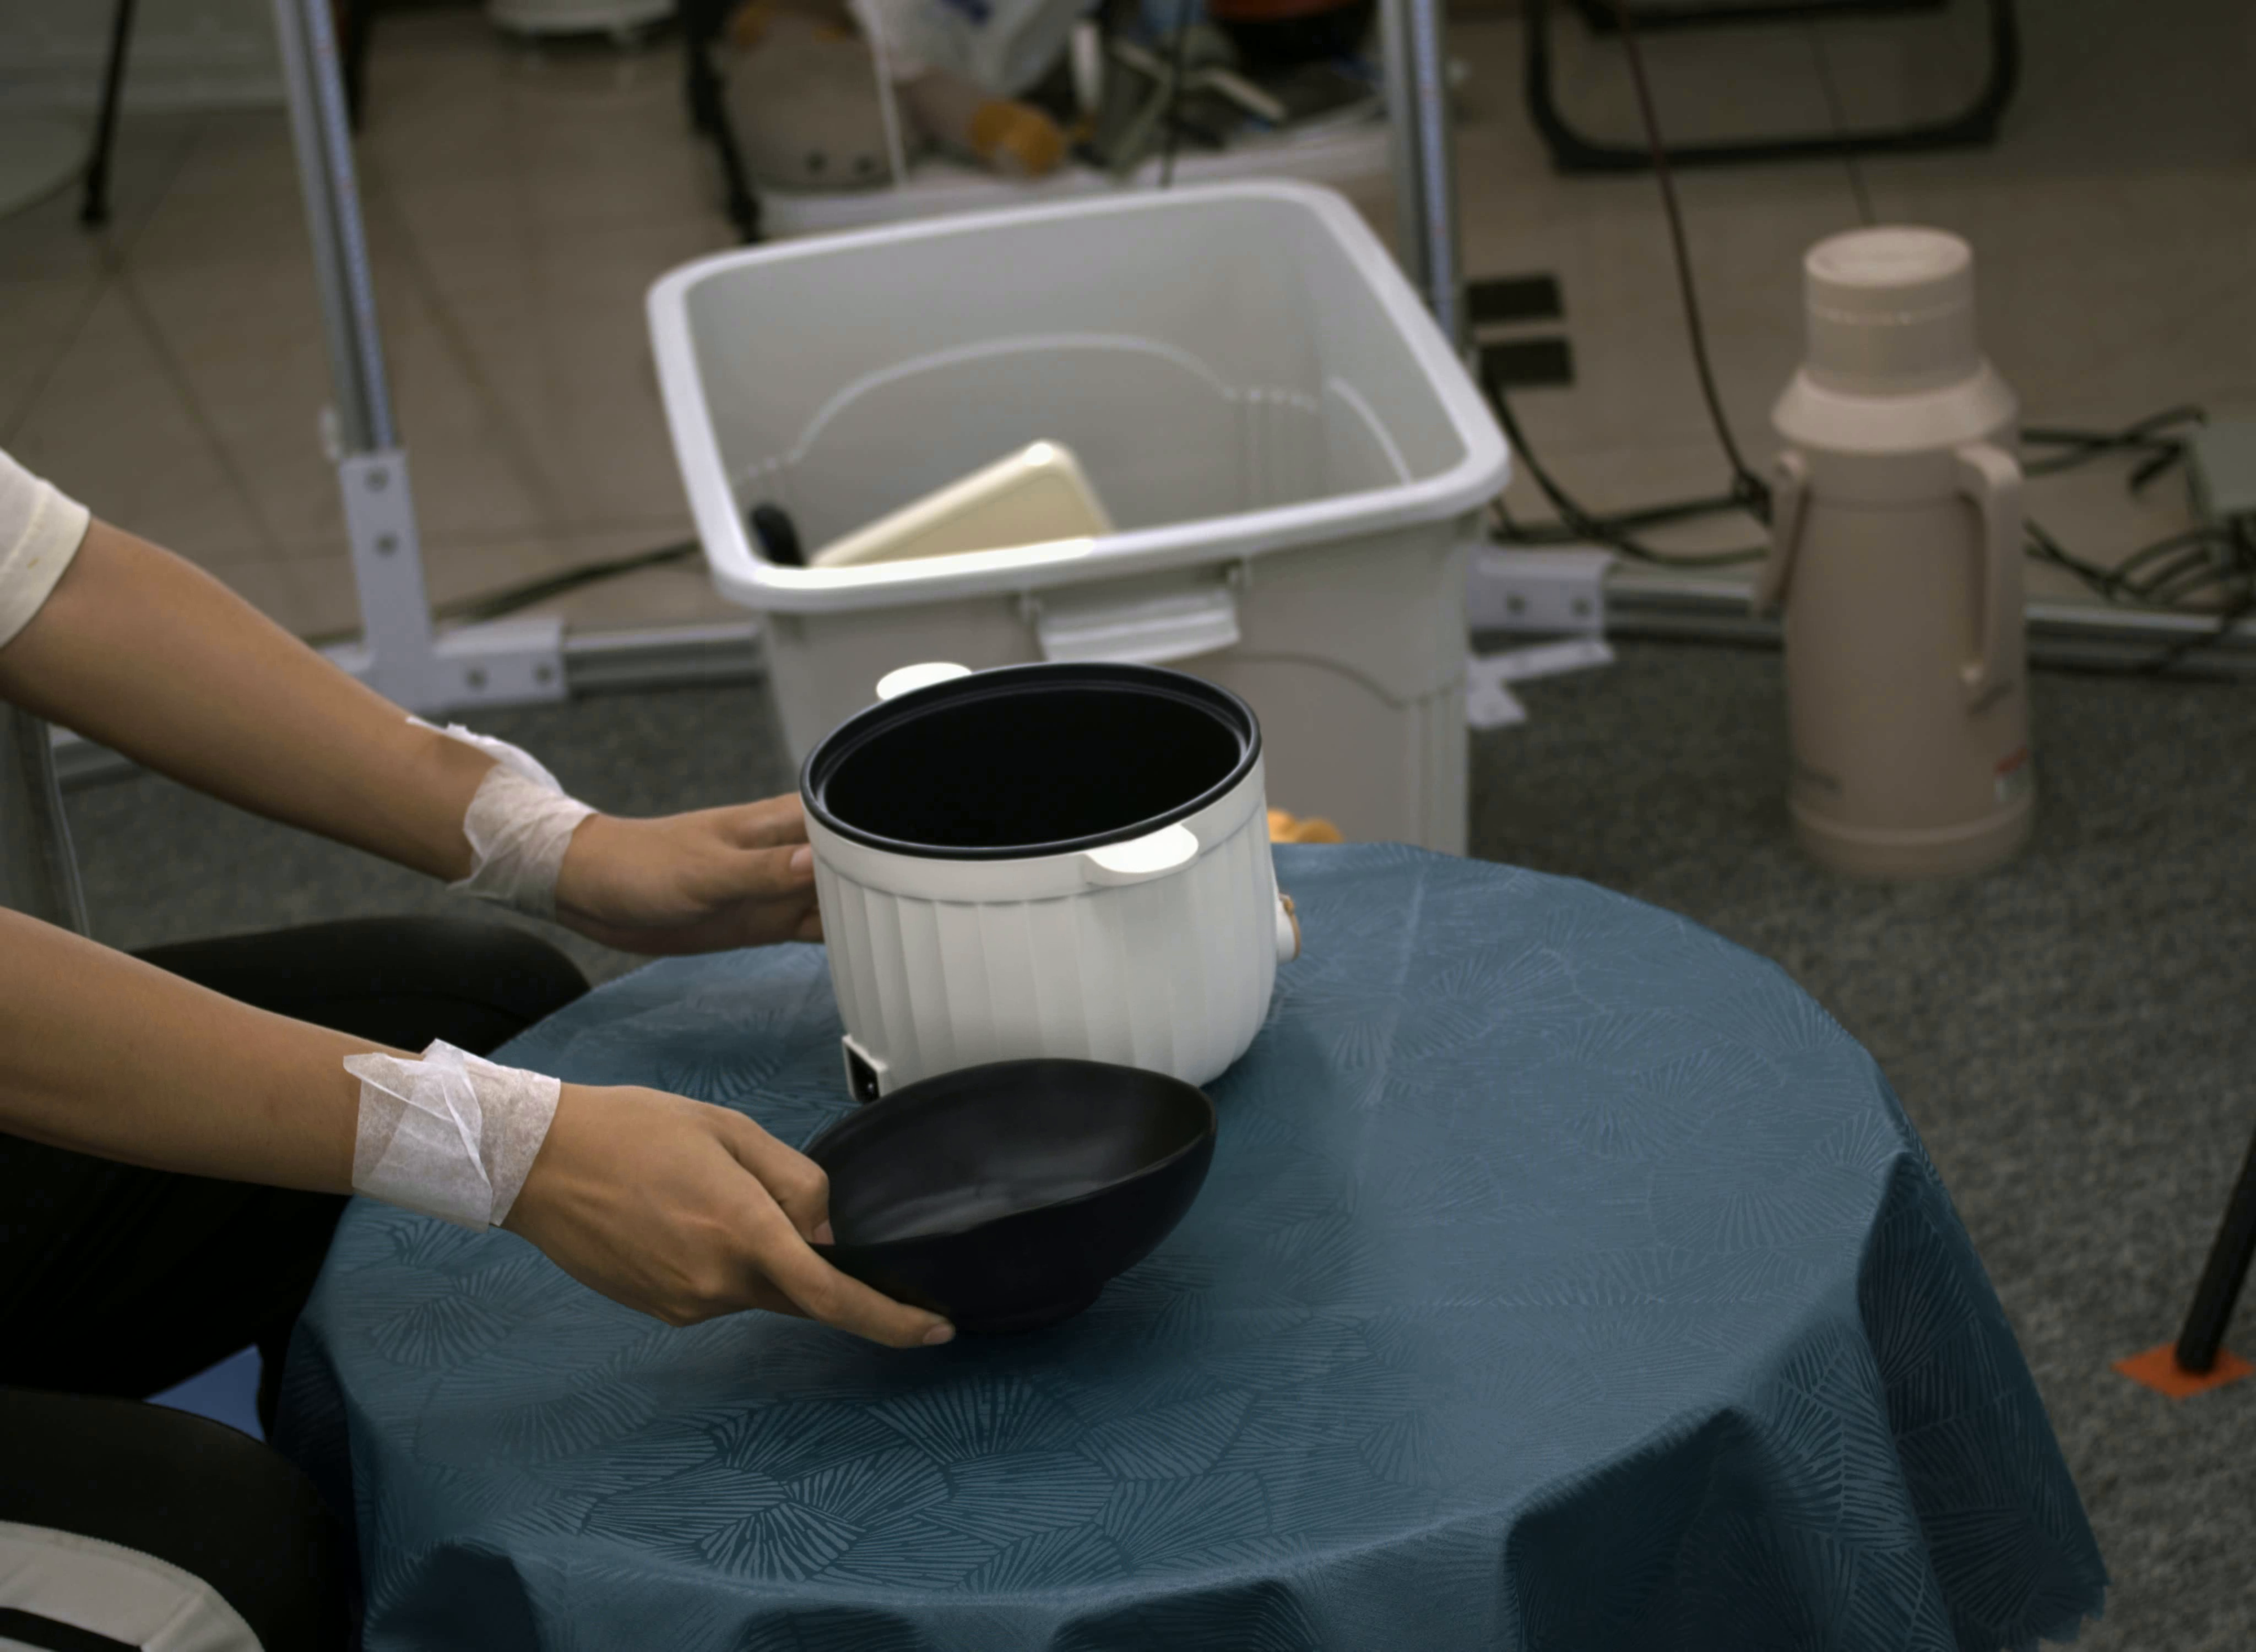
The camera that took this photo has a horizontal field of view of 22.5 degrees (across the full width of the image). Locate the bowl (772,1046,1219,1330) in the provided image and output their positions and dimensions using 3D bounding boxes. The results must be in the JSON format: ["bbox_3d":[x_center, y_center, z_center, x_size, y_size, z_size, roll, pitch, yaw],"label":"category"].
[{"bbox_3d":[-0.044,0.140,2.057,0.169,0.067,0.136,-18,24,-25],"label":"bowl"}]

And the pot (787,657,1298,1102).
[{"bbox_3d":[-0.028,0.029,2.227,0.189,0.145,0.237,-21,29,-20],"label":"pot"}]
